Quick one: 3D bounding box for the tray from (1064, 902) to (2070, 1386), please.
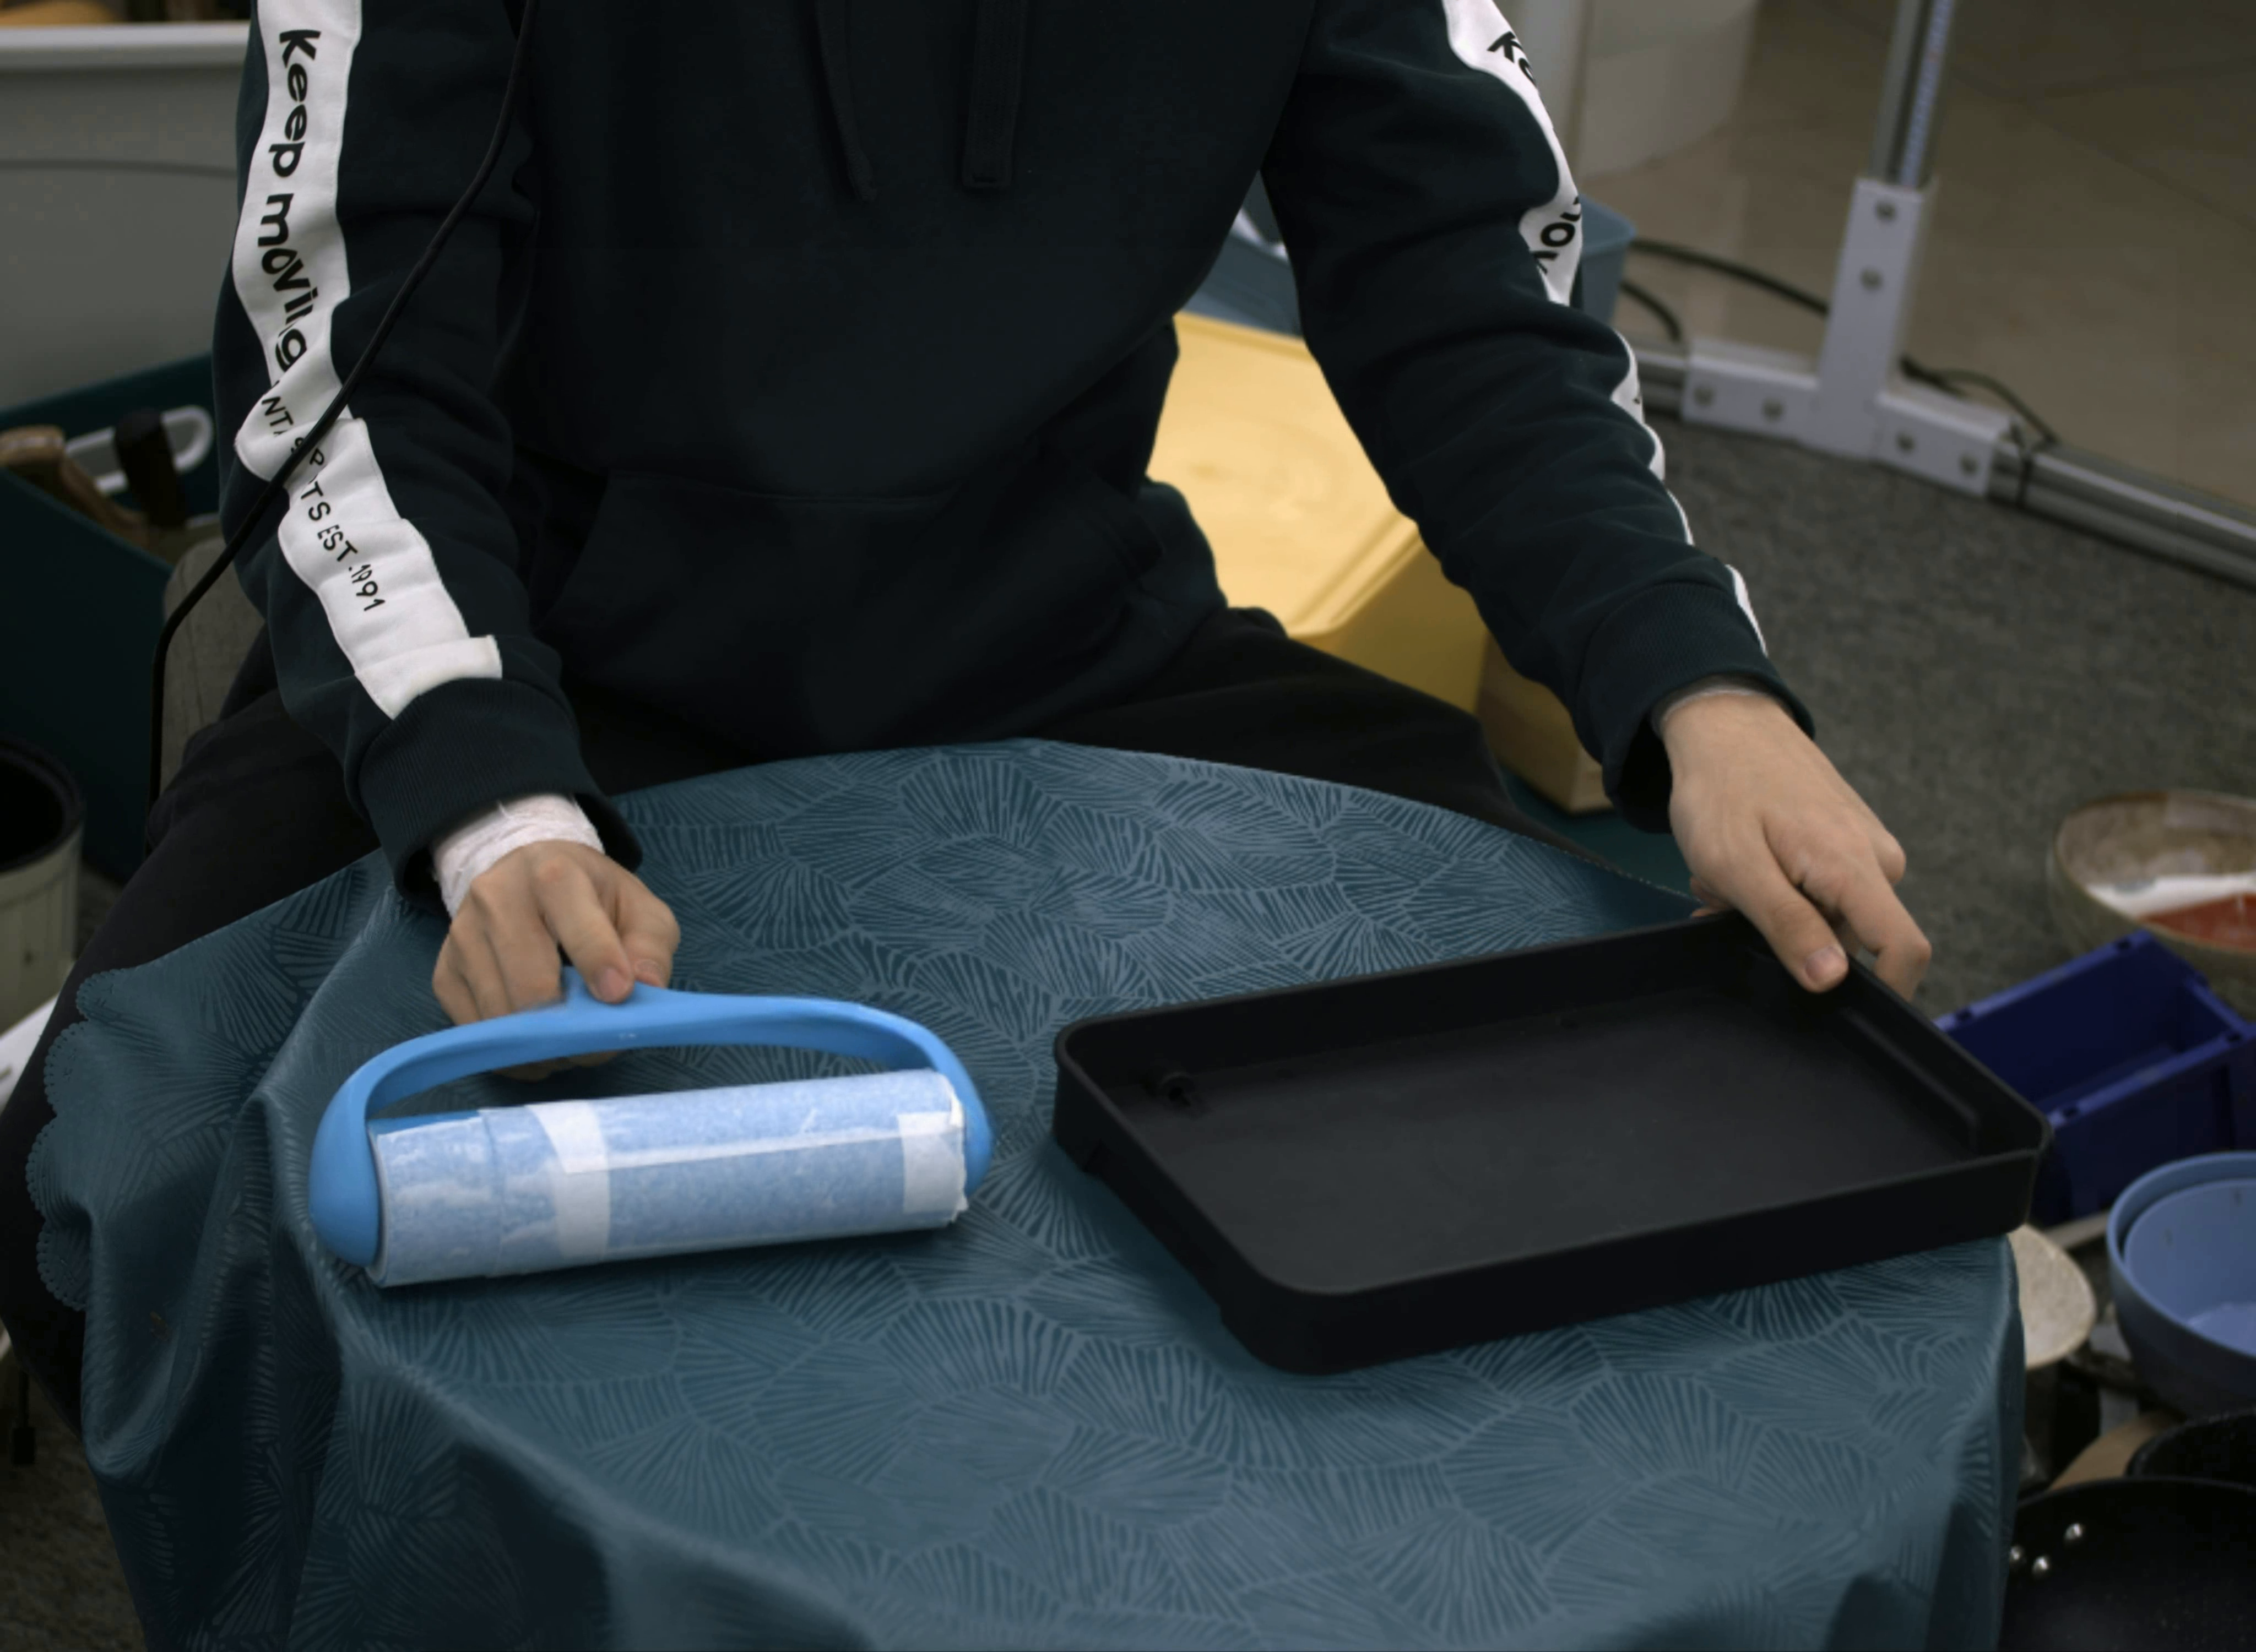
[{"bbox_3d":[0.150,0.104,1.833,0.316,0.037,0.186,-10,31,-27],"label":"tray"}]

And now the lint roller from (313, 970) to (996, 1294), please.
[{"bbox_3d":[-0.174,0.084,1.772,0.227,0.067,0.182,-7,32,-22],"label":"lint roller"}]
